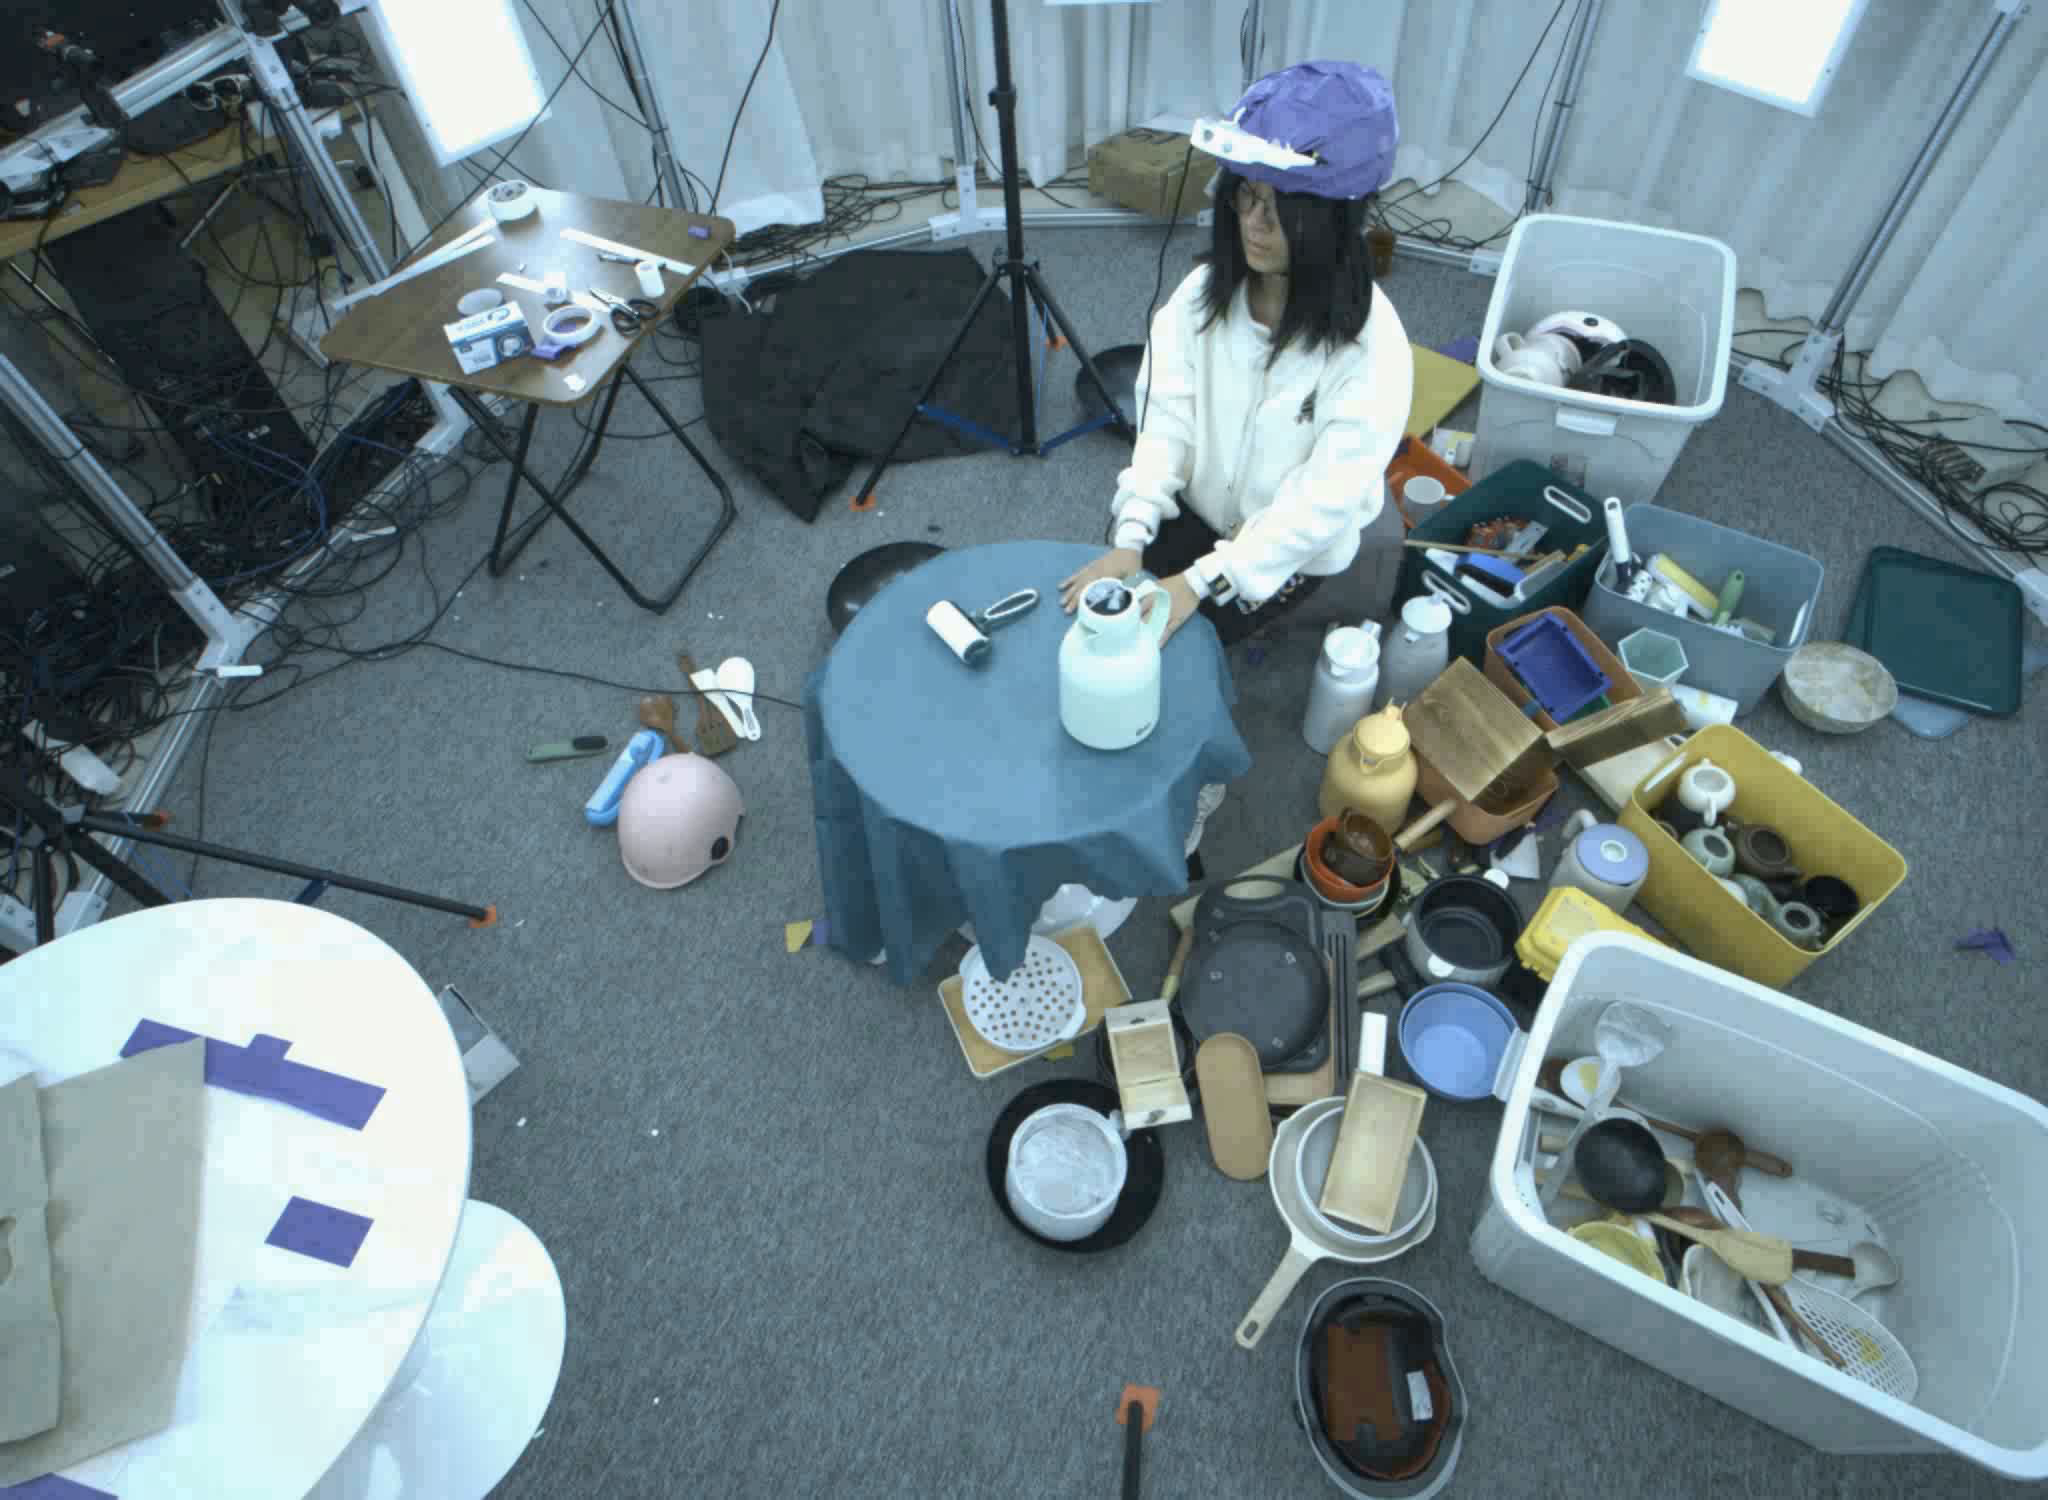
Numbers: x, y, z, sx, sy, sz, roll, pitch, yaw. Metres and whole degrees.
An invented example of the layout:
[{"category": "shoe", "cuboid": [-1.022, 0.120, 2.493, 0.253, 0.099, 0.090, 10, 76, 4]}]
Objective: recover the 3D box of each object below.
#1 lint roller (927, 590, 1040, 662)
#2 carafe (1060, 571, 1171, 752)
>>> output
[{"category": "lint roller", "cuboid": [-0.050, -0.217, 1.913, 0.181, 0.049, 0.132, -32, 61, -19]}, {"category": "carafe", "cuboid": [0.131, -0.131, 1.723, 0.188, 0.259, 0.141, -37, 59, -25]}]
